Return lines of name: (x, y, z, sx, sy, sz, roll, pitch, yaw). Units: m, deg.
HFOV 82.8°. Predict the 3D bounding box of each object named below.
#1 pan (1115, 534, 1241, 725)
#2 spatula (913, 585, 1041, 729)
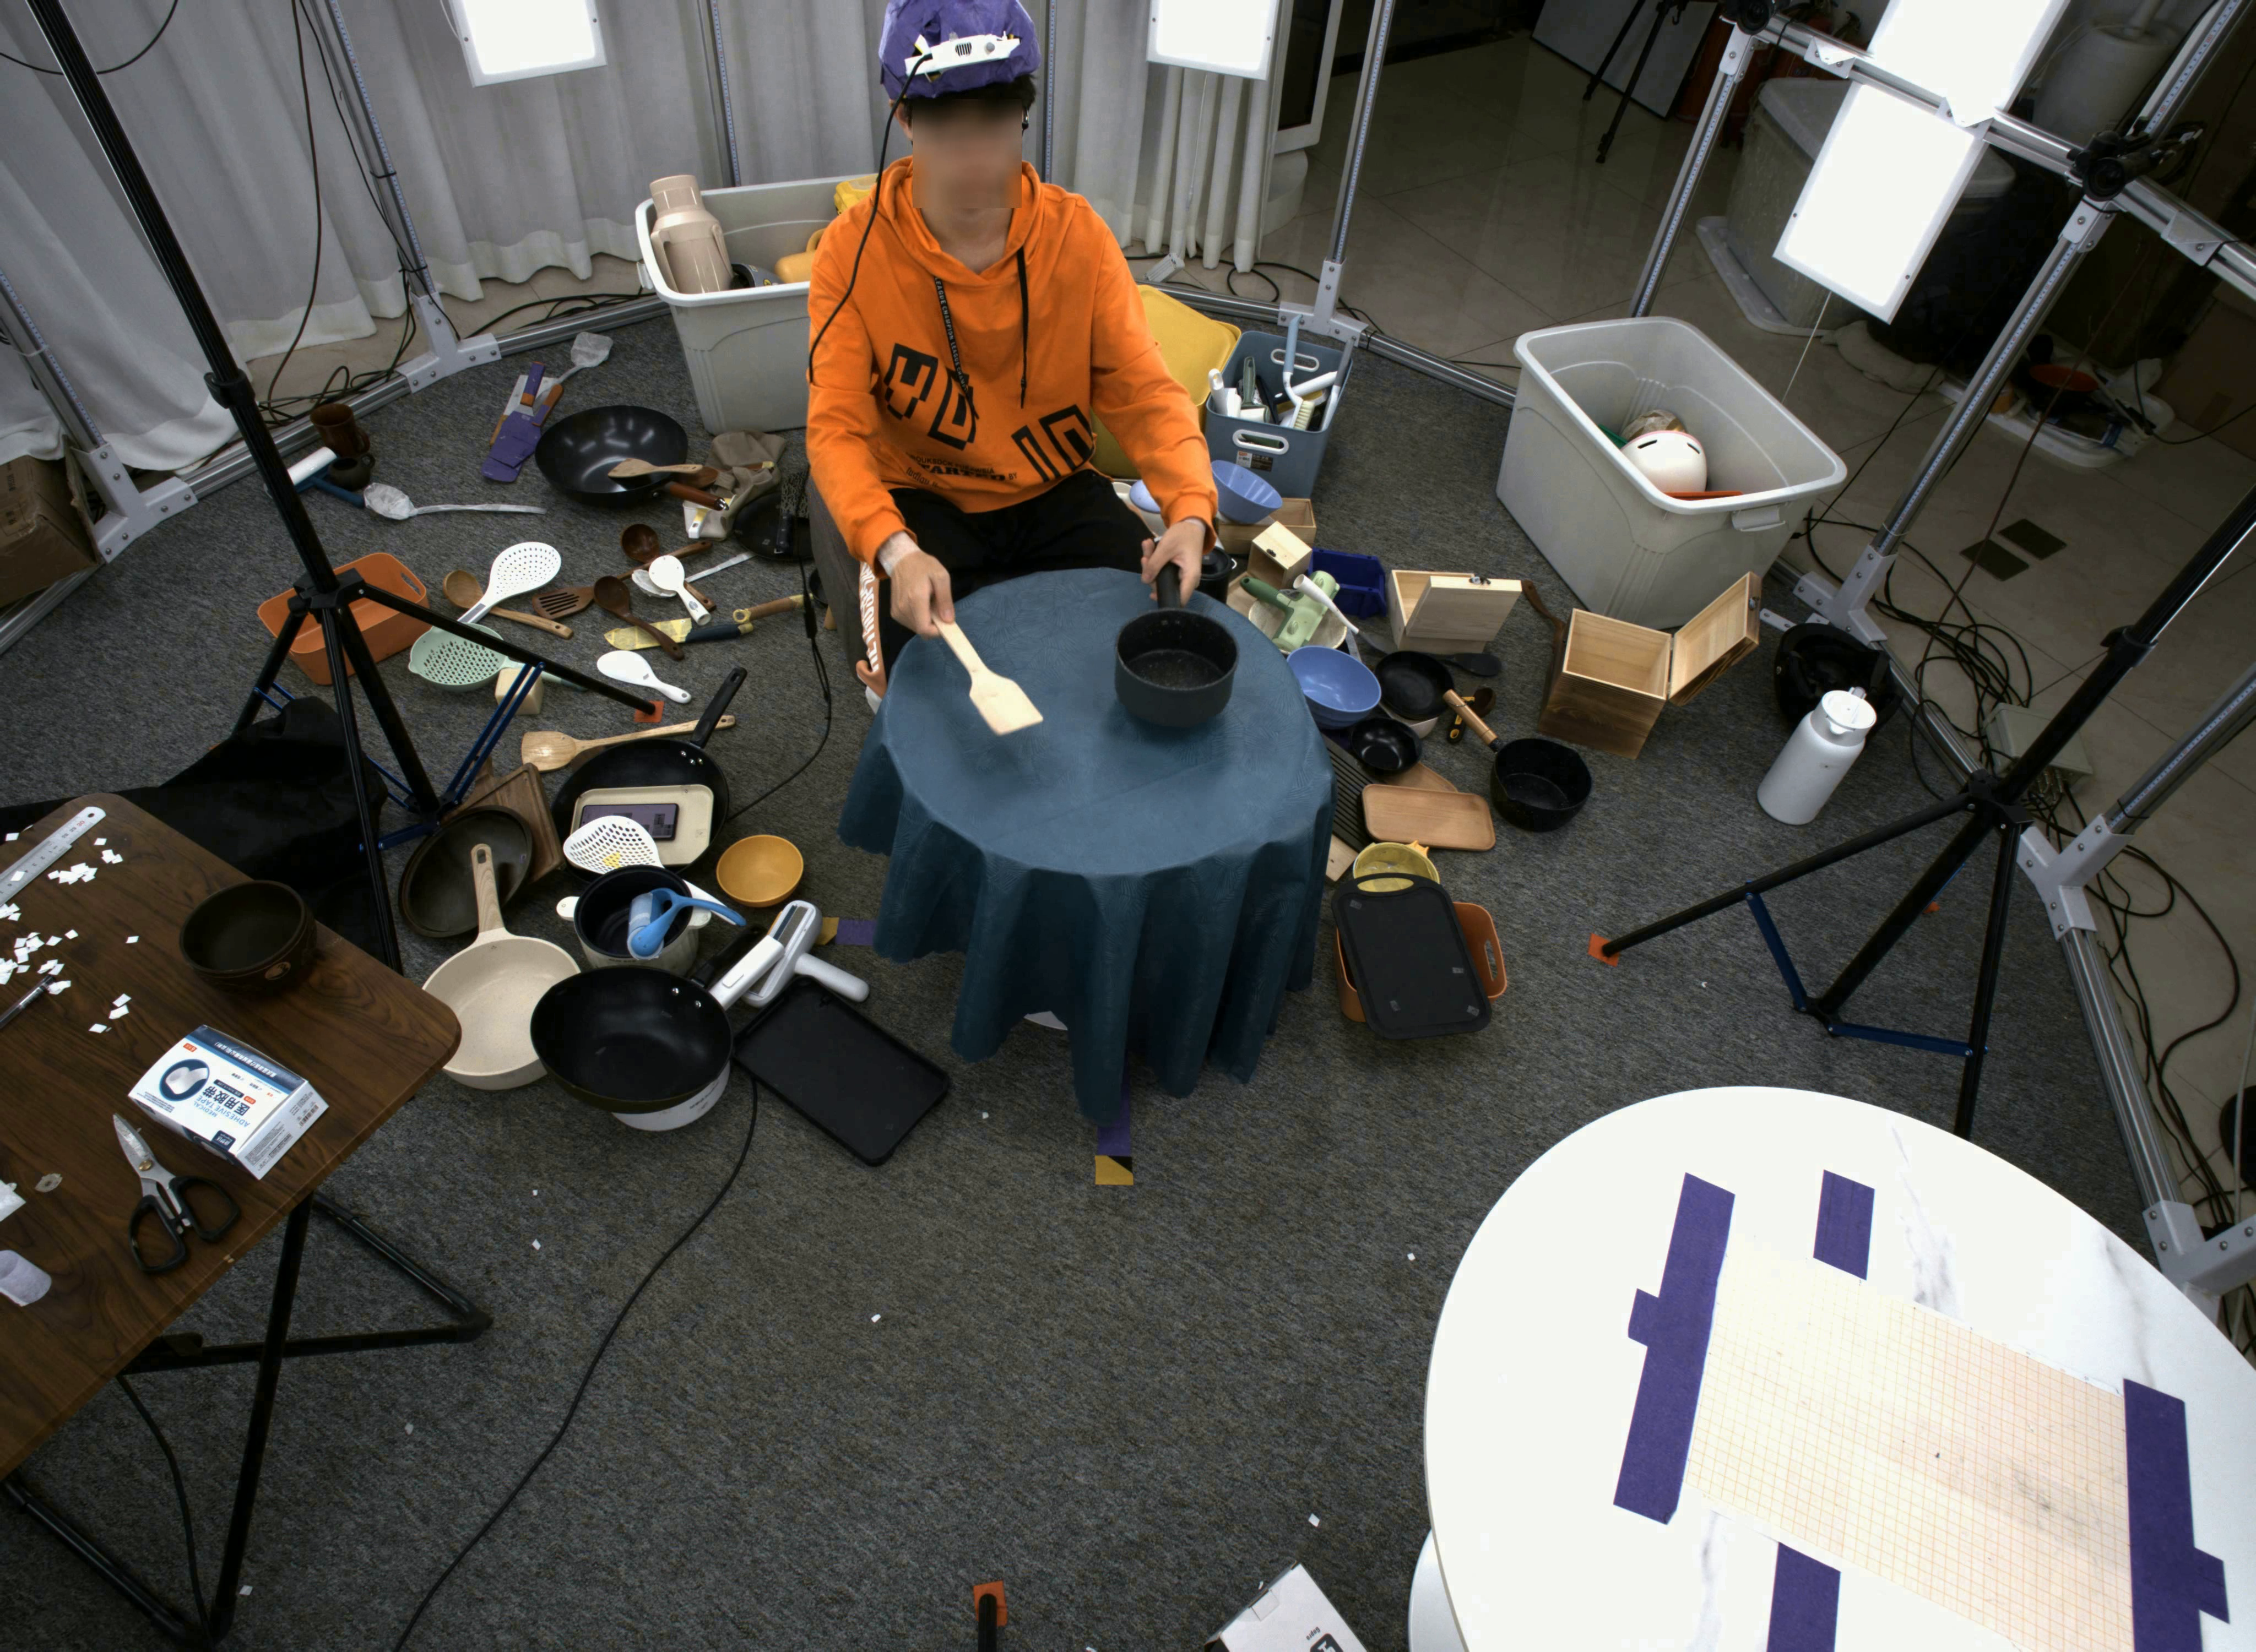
pan: (0.064, -0.281, 1.822, 0.172, 0.084, 0.337, 2, 48, -3)
spatula: (-0.218, -0.235, 1.743, 0.072, 0.010, 0.299, -20, 55, -27)
